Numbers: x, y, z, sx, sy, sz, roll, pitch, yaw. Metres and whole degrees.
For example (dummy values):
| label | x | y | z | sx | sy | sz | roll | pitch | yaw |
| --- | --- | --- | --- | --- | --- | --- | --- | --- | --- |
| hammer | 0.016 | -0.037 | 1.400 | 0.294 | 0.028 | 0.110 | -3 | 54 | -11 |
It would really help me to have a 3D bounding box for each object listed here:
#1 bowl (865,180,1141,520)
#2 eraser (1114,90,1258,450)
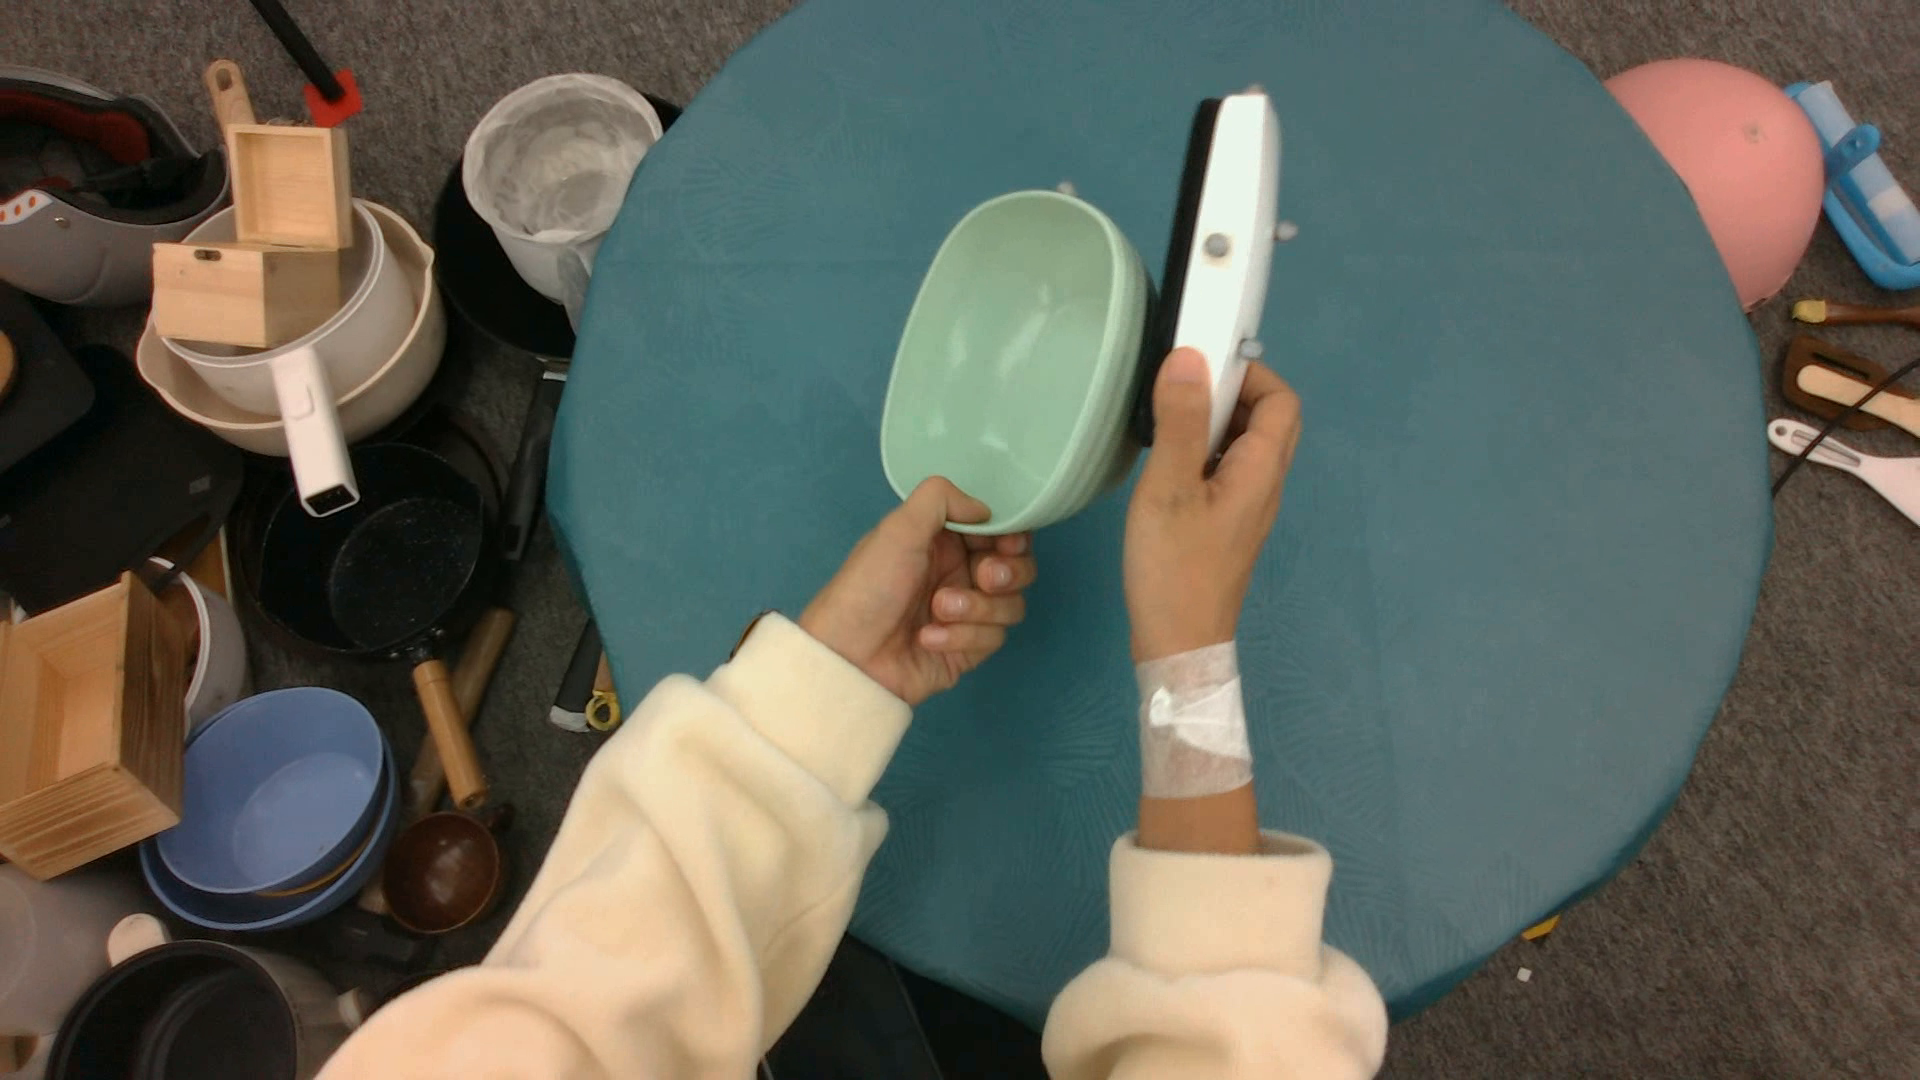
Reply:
| label | x | y | z | sx | sy | sz | roll | pitch | yaw |
| --- | --- | --- | --- | --- | --- | --- | --- | --- | --- |
| bowl | 0.026 | -0.070 | 0.558 | 0.059 | 0.151 | 0.152 | 18 | 70 | -32 |
| eraser | 0.089 | -0.100 | 0.519 | 0.034 | 0.063 | 0.131 | 11 | 97 | 19 |
